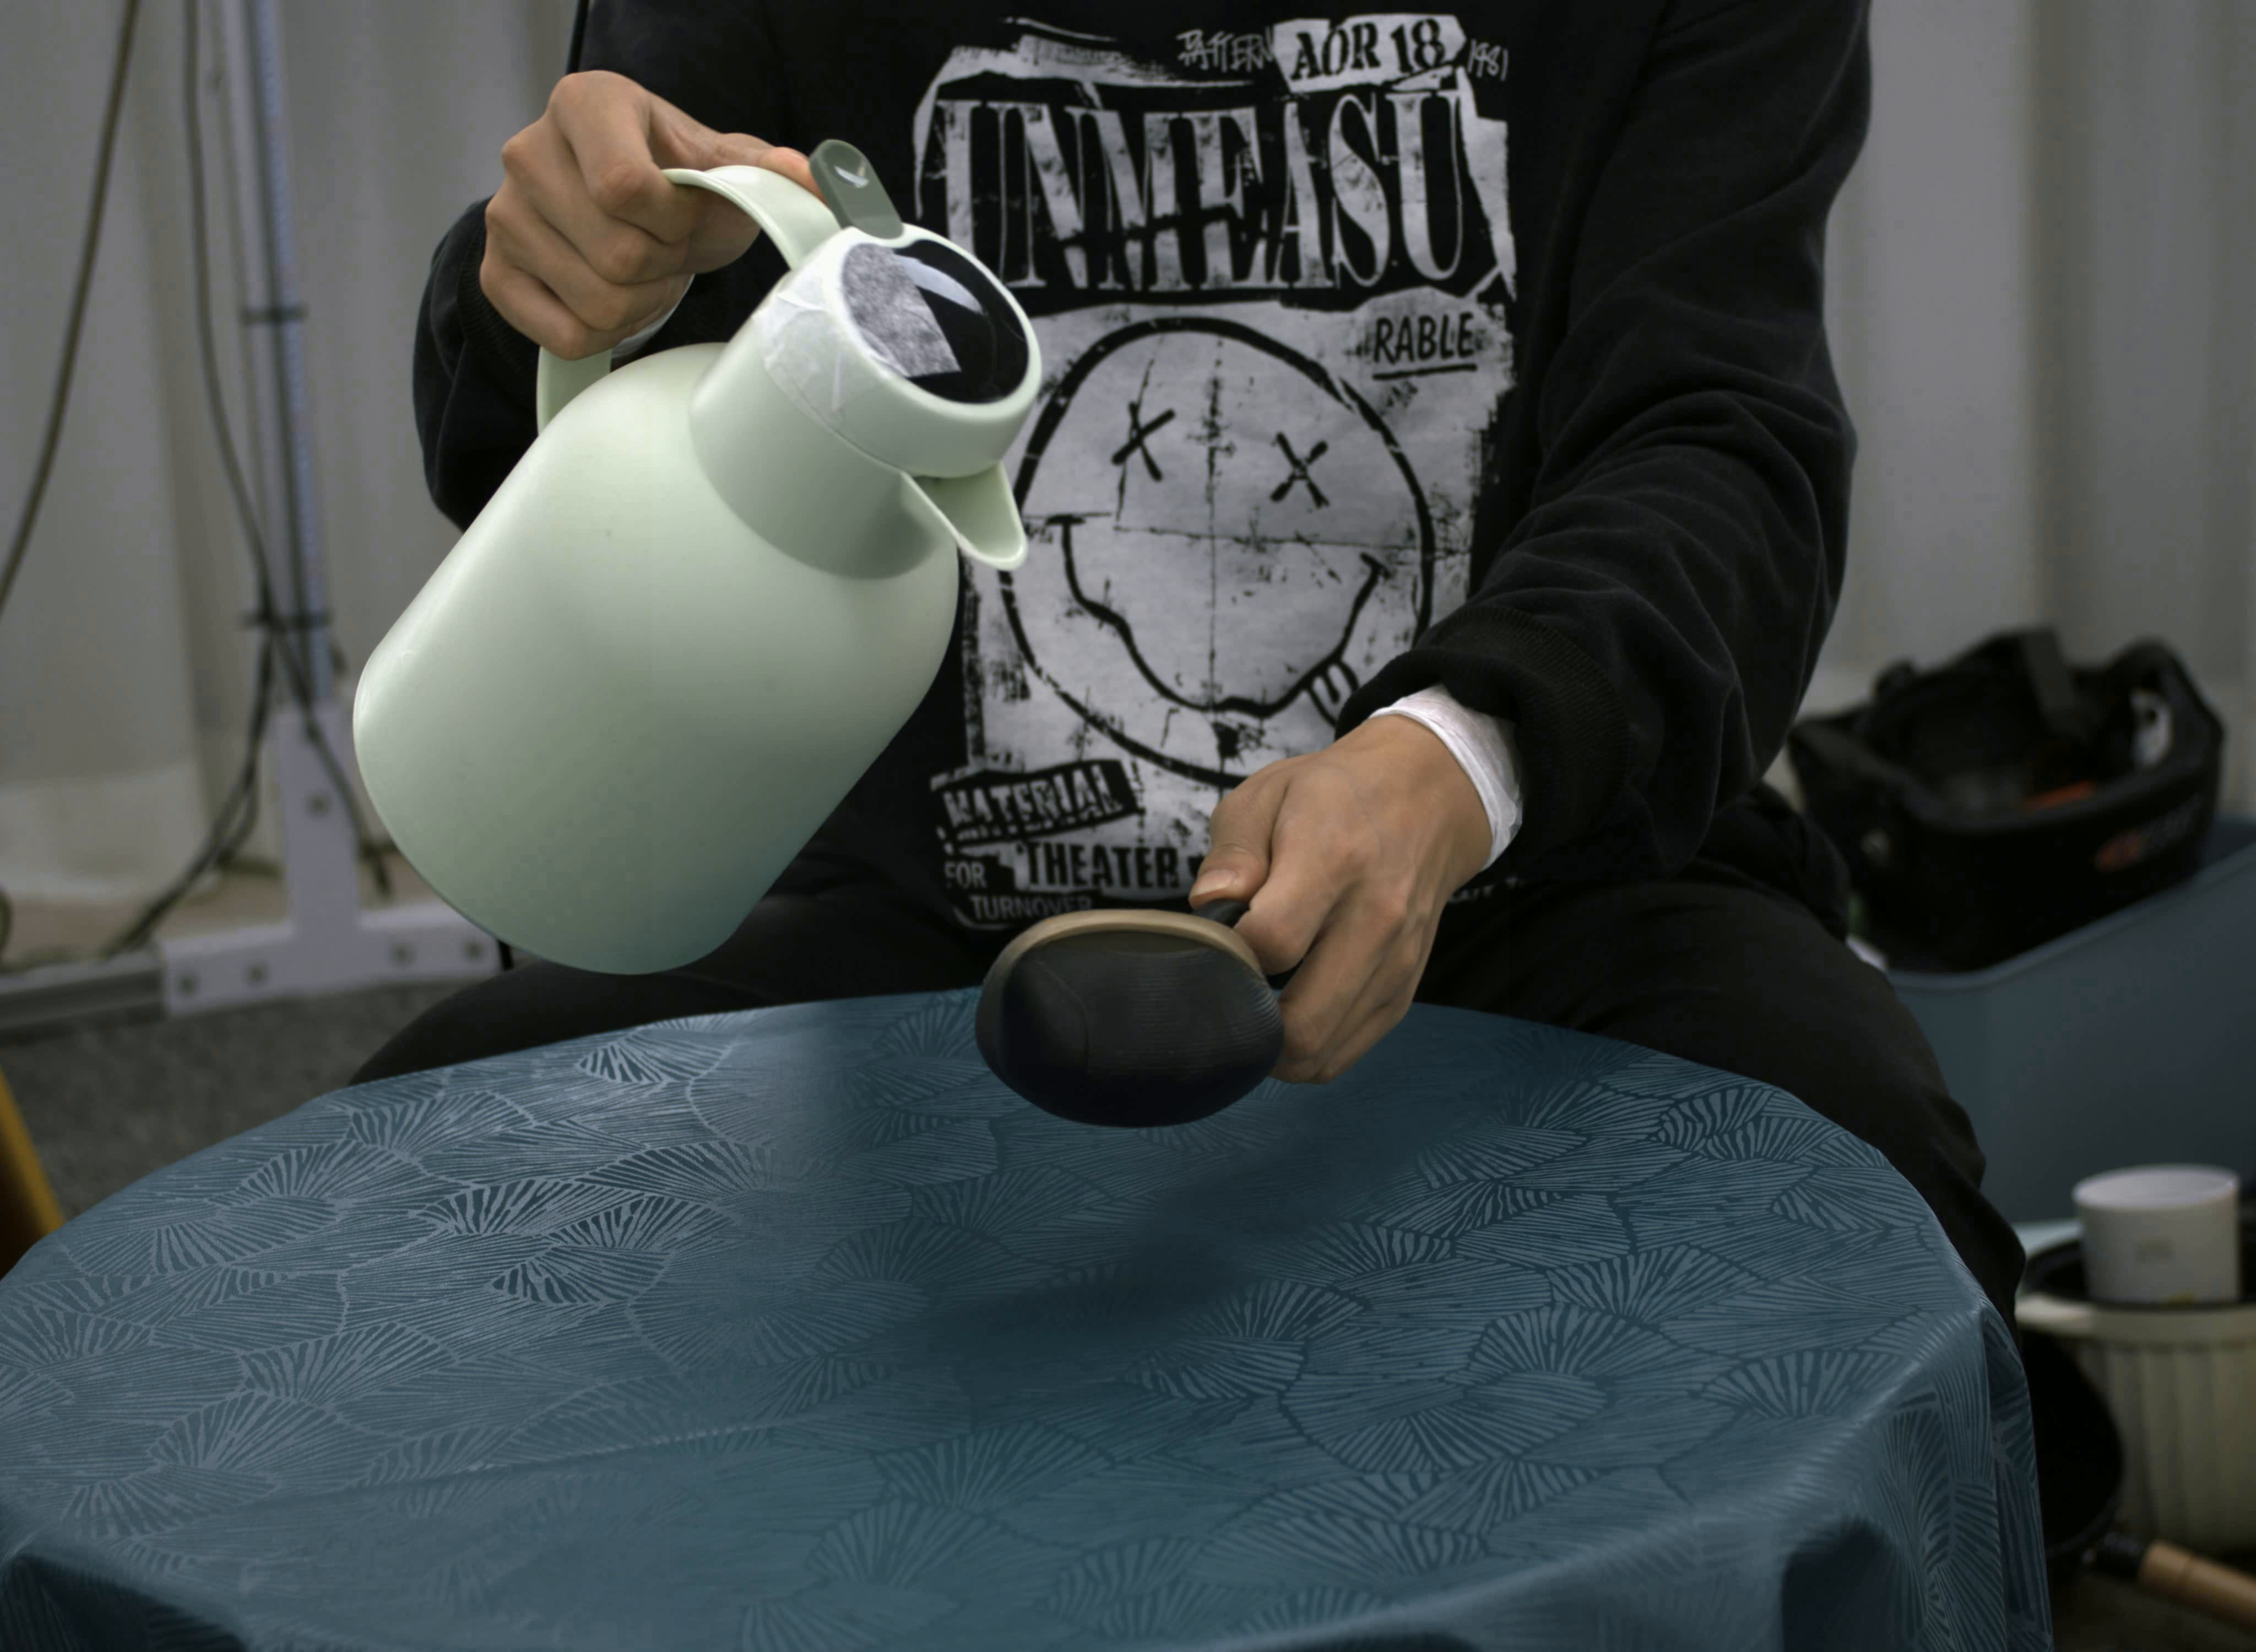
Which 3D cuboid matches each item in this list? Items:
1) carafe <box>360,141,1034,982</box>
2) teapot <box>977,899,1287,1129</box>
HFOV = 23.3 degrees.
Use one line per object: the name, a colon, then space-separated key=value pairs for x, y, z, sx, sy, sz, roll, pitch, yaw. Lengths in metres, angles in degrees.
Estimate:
carafe: x=-0.129 y=-0.087 z=1.669 sx=0.144 sy=0.255 sz=0.189 roll=-10 pitch=58 yaw=-44
teapot: x=0.002 y=0.056 z=1.597 sx=0.091 sy=0.053 sz=0.133 roll=12 pitch=16 yaw=34
